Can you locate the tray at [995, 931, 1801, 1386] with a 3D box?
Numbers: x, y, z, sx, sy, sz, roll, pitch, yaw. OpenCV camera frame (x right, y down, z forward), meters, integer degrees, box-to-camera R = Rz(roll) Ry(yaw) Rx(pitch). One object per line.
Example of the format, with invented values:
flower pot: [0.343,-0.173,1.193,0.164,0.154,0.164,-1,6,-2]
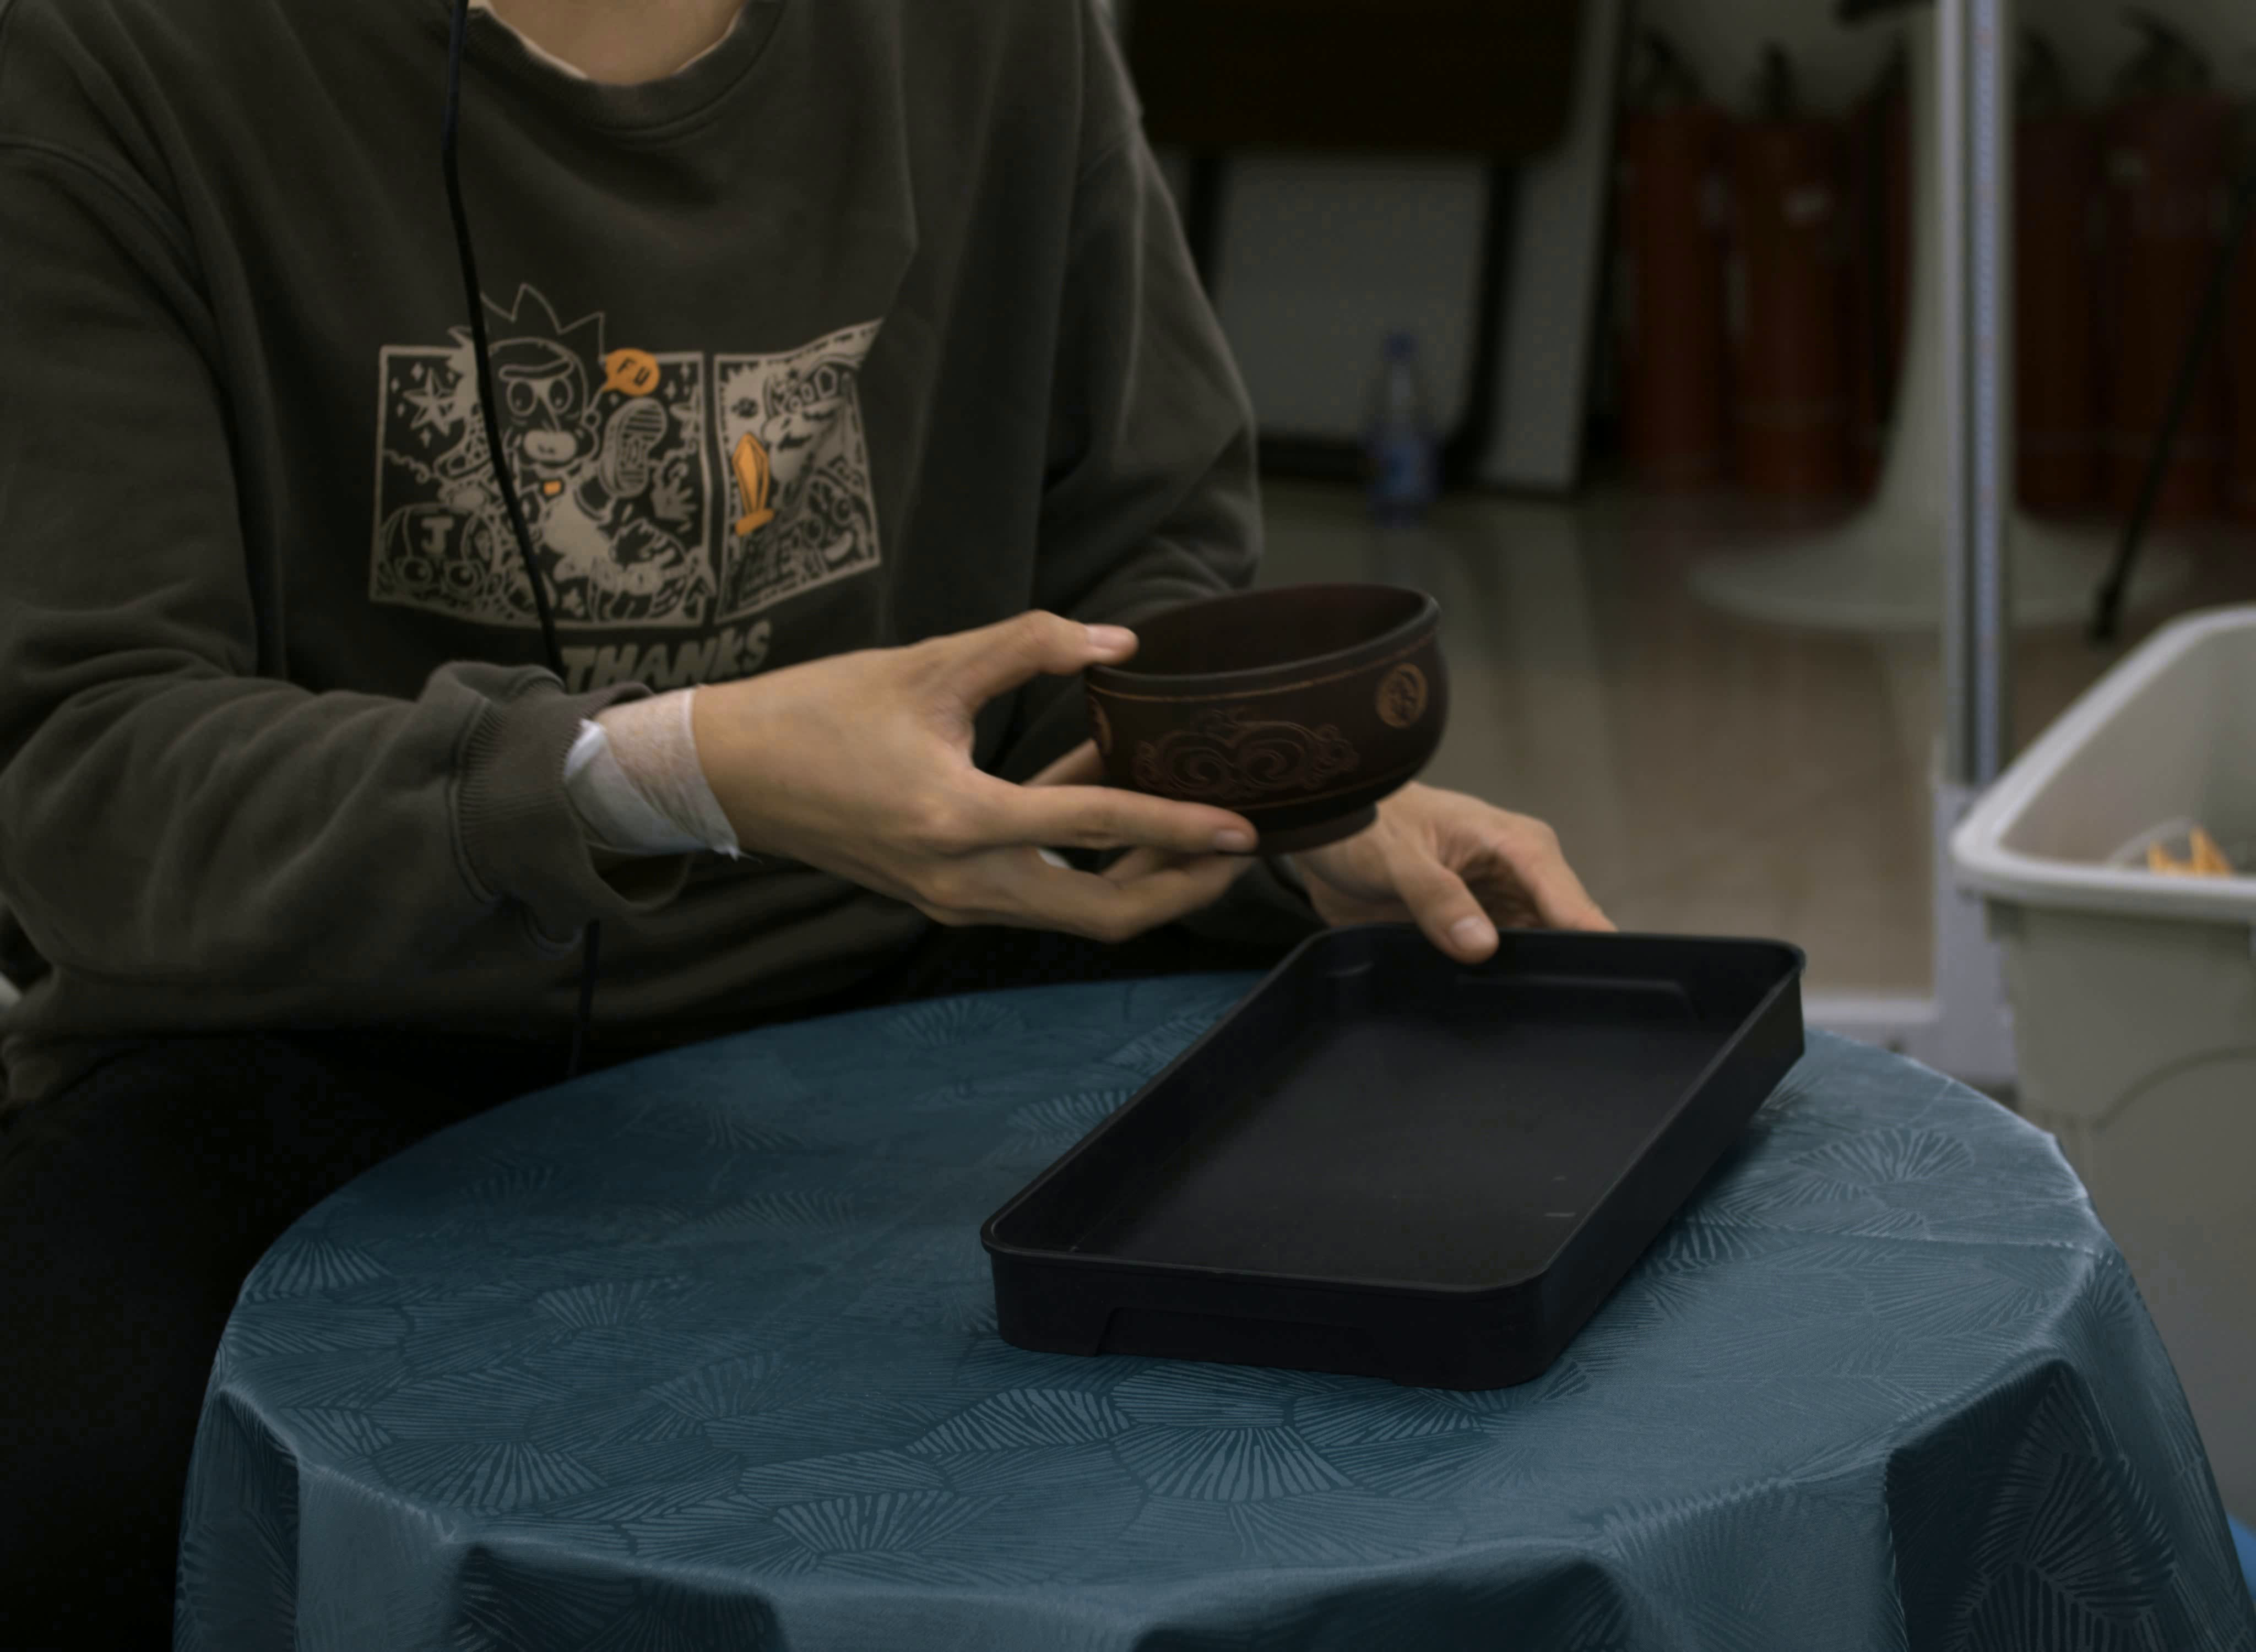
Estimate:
tray: [0.096,0.100,1.730,0.184,0.037,0.314,0,18,23]

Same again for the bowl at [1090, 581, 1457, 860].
bowl: [0.050,-0.030,1.722,0.116,0.070,0.118,-11,12,1]
